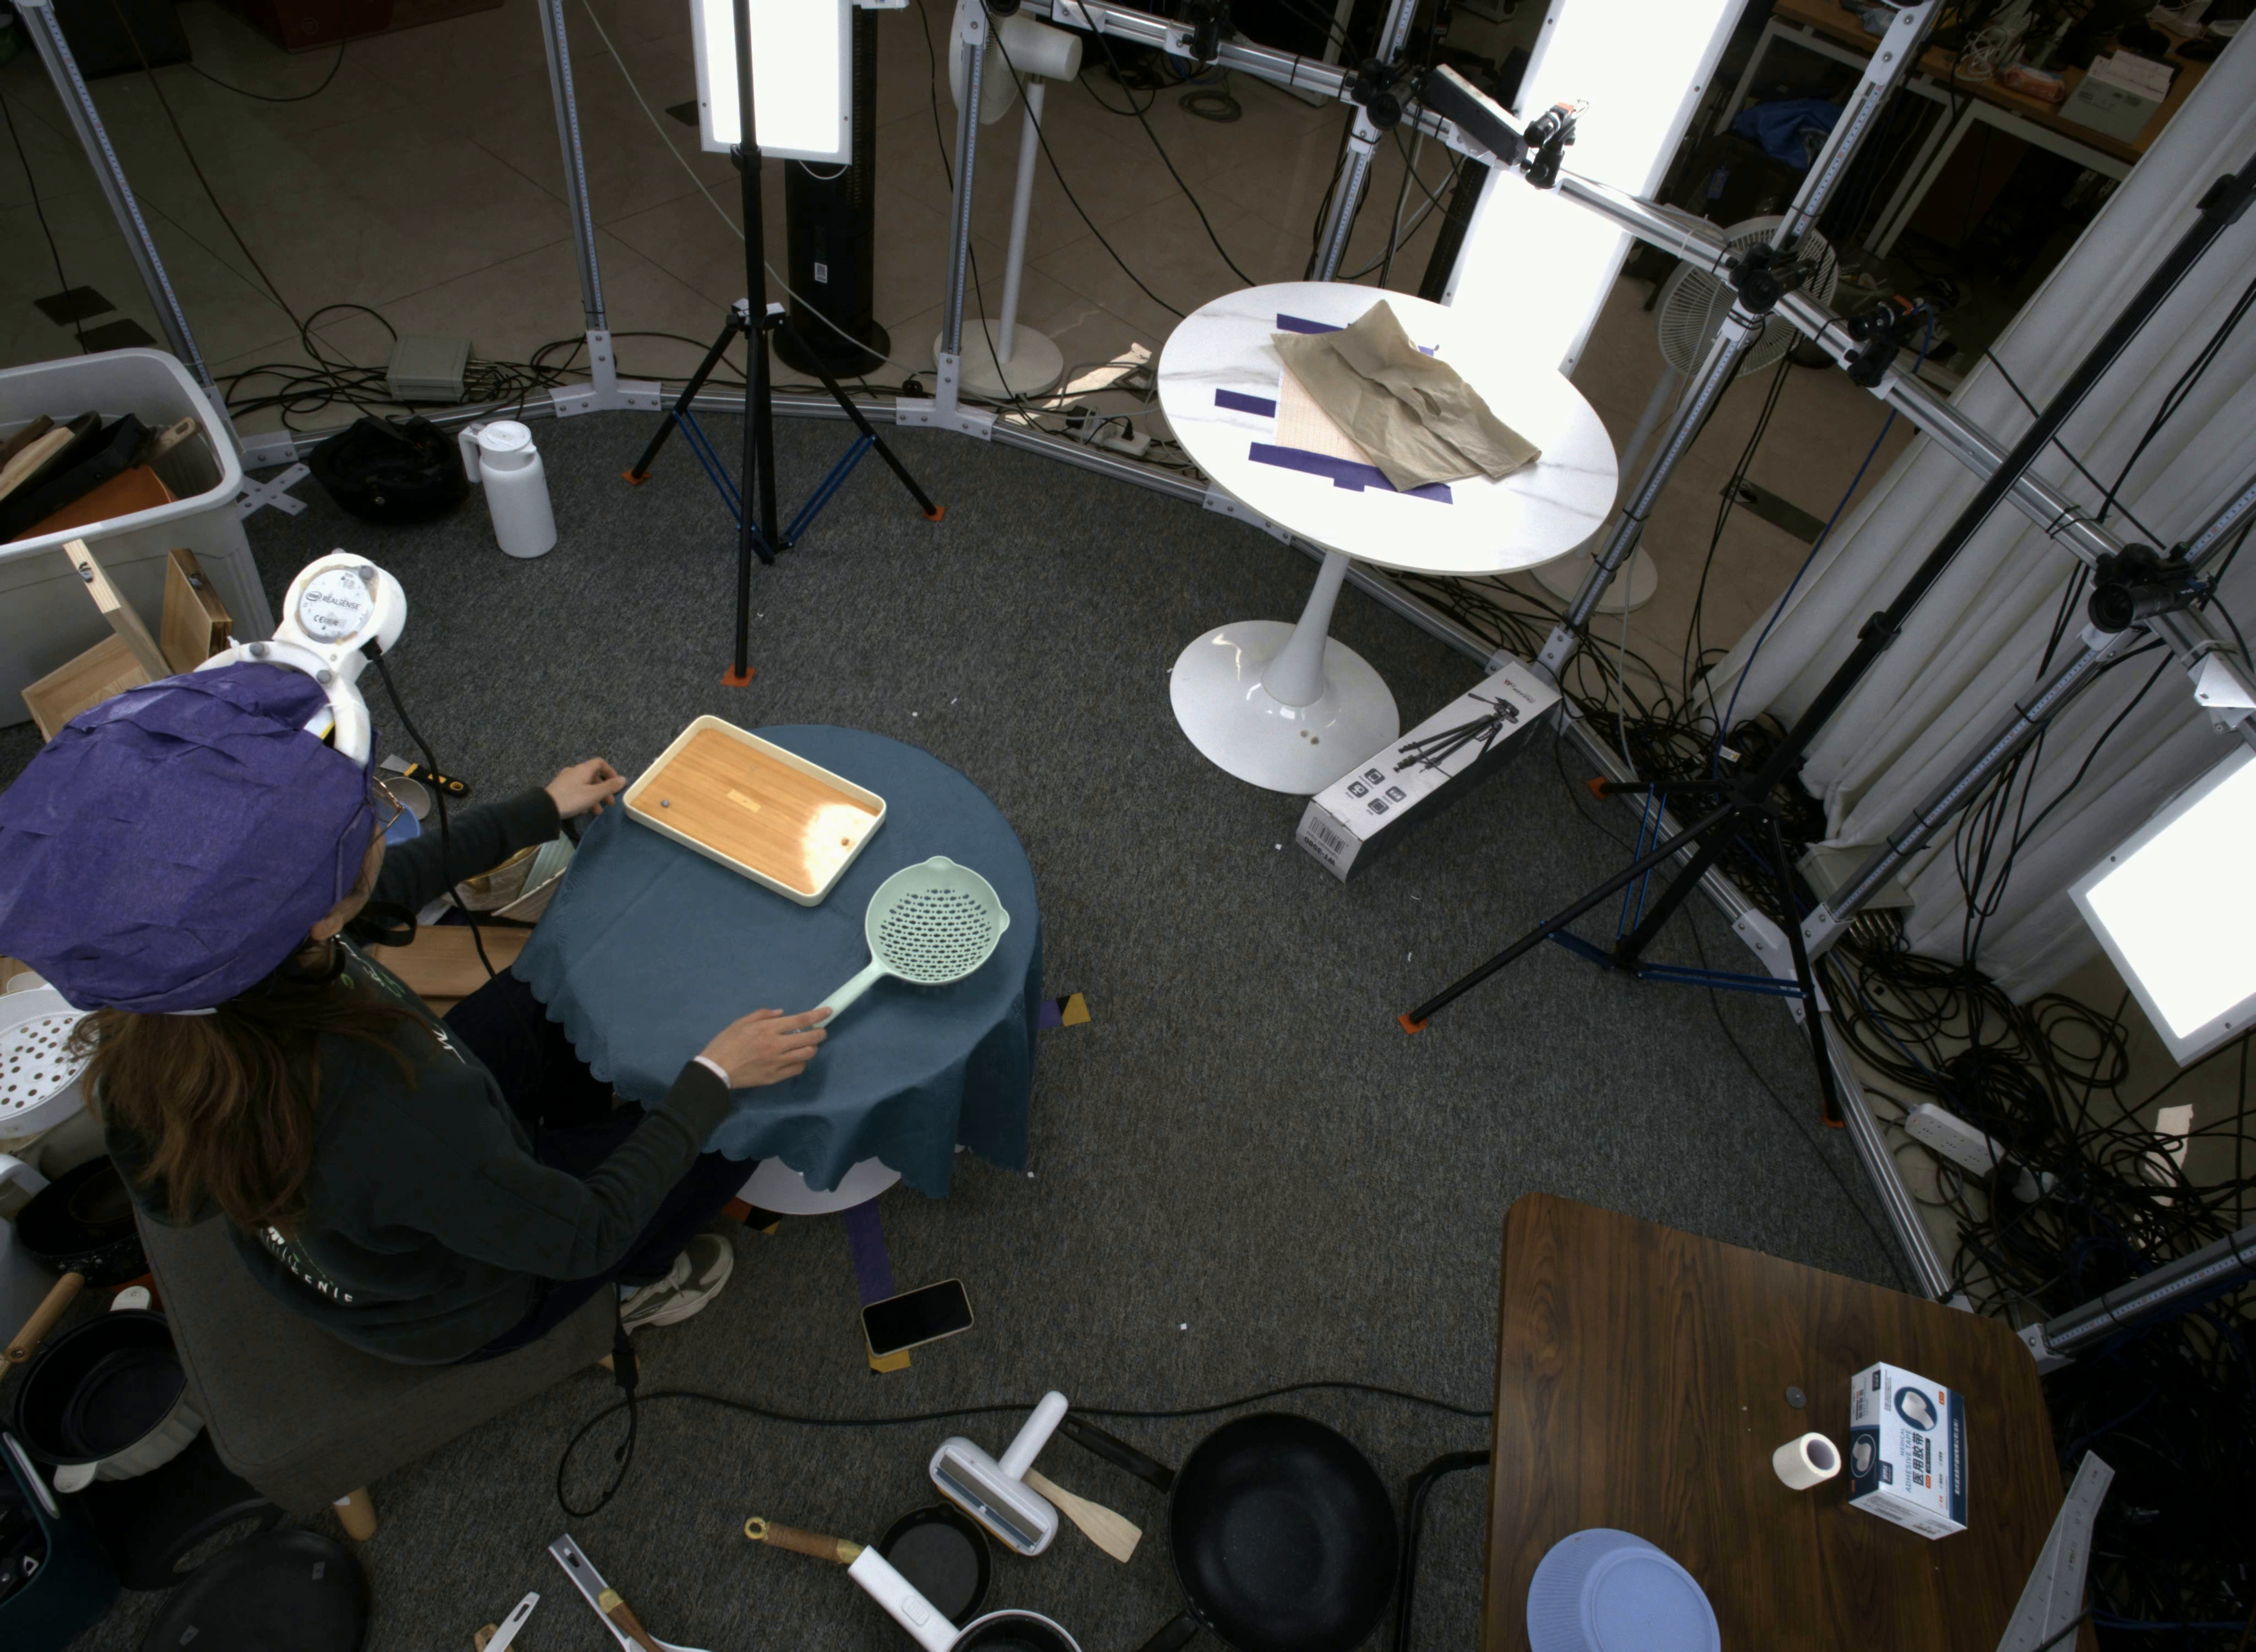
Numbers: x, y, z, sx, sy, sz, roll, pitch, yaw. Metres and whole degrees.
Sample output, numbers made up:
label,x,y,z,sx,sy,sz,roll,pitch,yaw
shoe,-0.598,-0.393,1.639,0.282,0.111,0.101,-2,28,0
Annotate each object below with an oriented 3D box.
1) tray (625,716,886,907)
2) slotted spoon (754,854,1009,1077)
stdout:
label,x,y,z,sx,sy,sz,roll,pitch,yaw
tray,-0.492,-0.024,1.713,0.296,0.028,0.190,26,52,6
slotted spoon,-0.308,0.177,1.585,0.165,0.077,0.359,41,55,18
